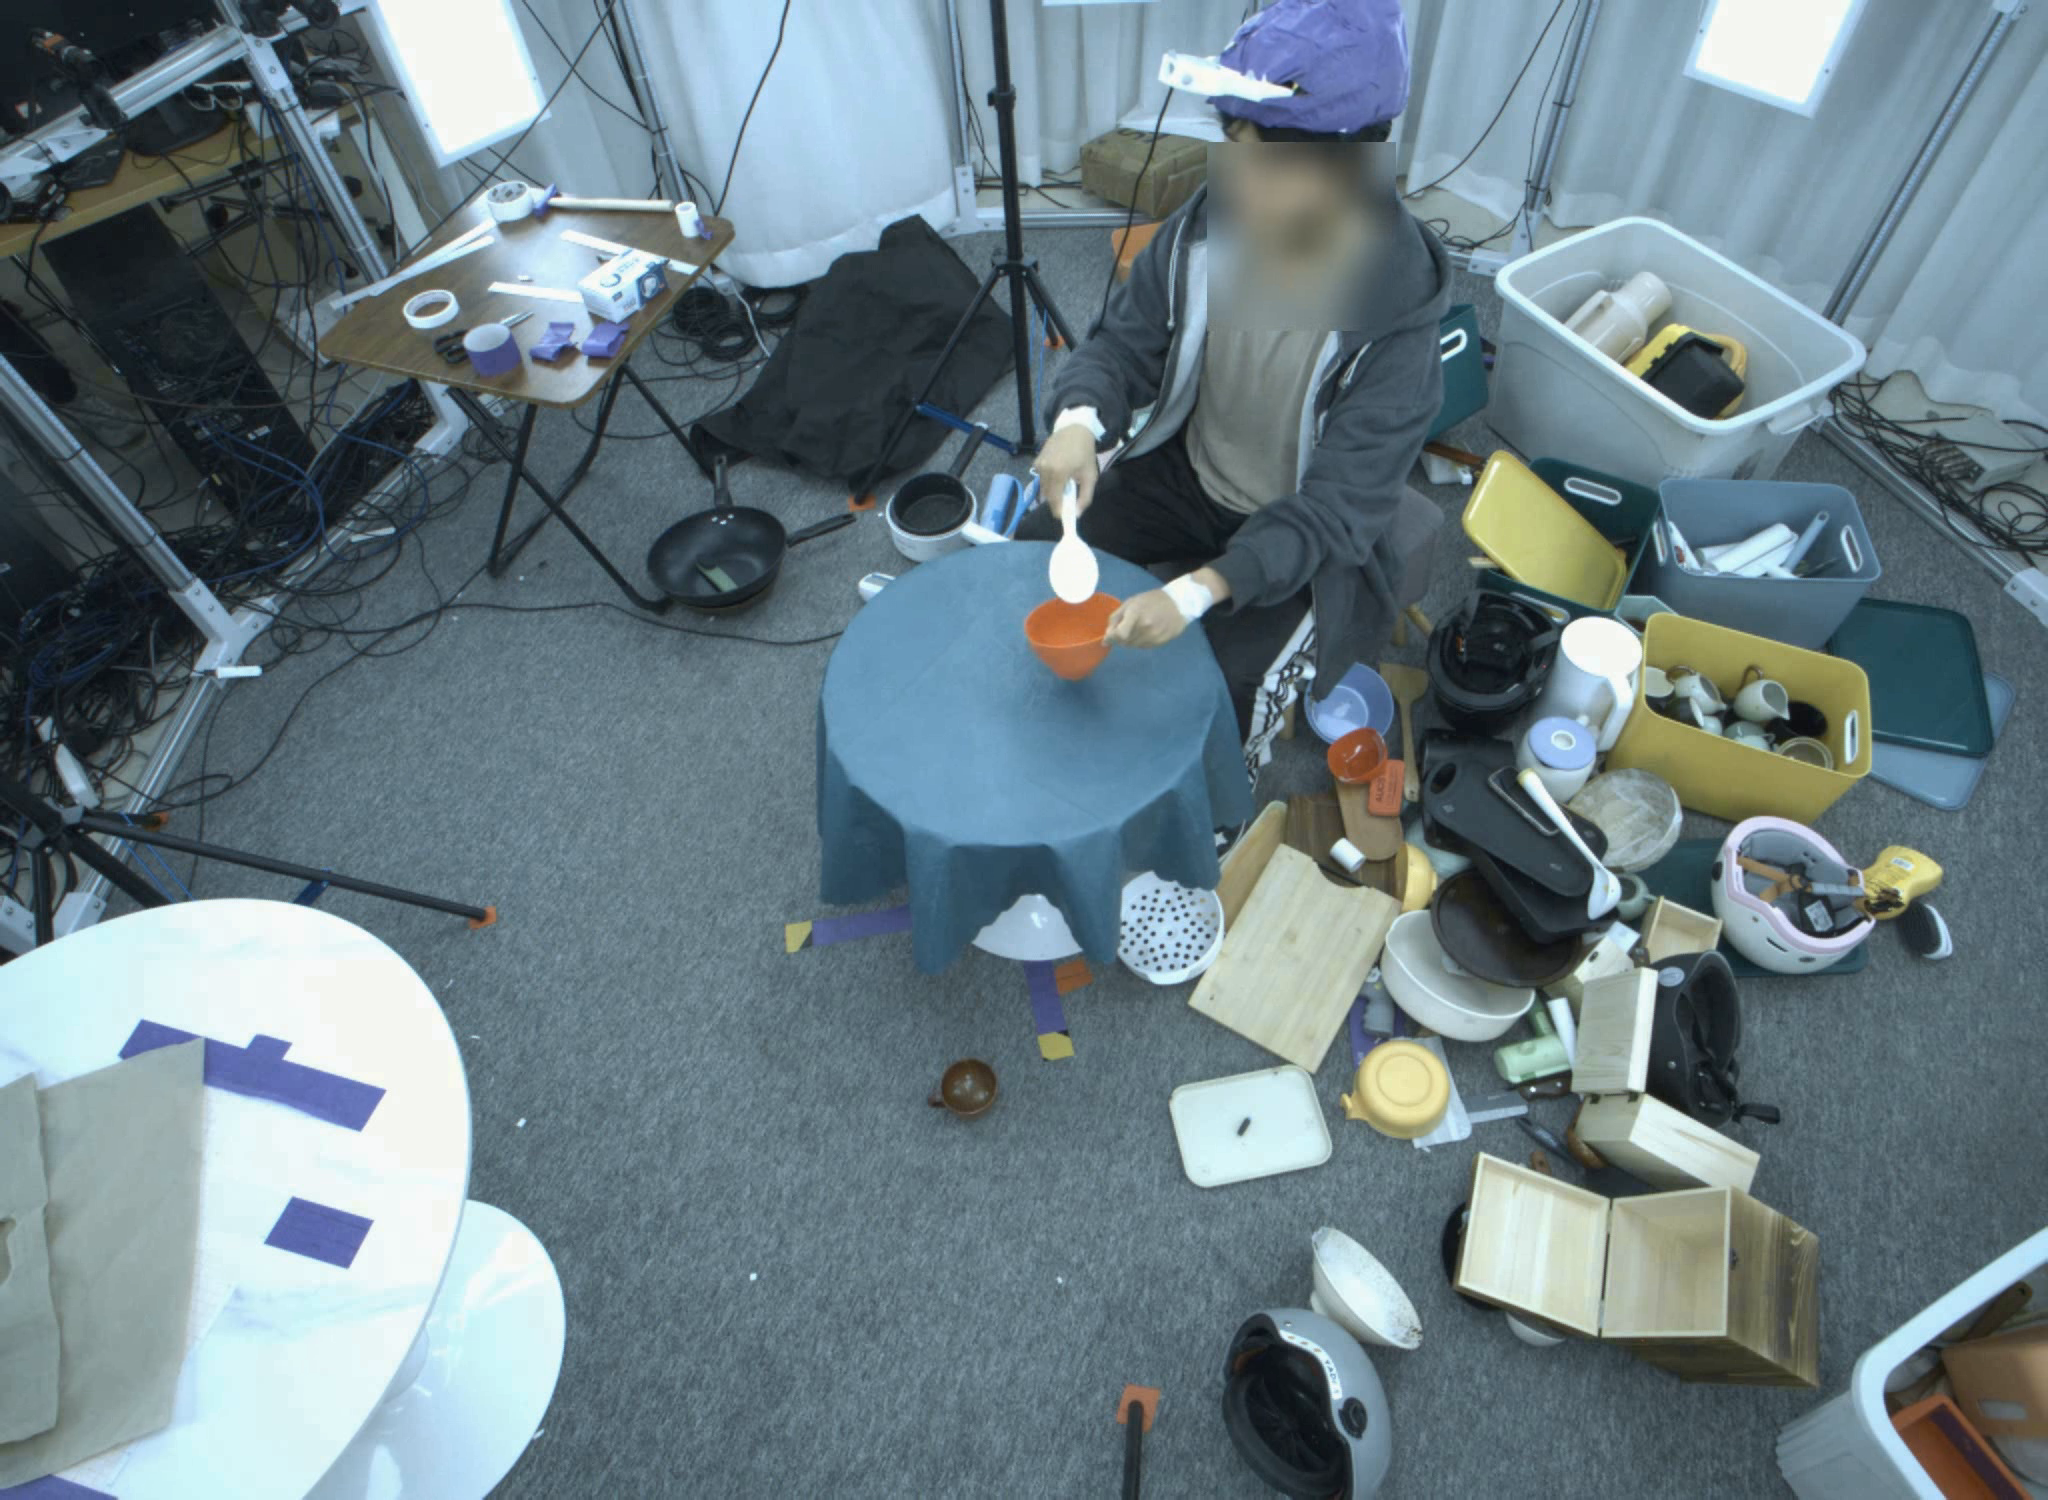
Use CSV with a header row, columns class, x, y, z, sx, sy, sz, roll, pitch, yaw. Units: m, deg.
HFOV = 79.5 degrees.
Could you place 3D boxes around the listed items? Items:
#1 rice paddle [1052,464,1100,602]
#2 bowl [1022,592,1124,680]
class,x,y,z,sx,sy,sz,roll,pitch,yaw
rice paddle,0.067,-0.309,1.748,0.069,0.029,0.204,-6,81,-1
bowl,0.074,-0.156,1.777,0.147,0.106,0.146,-3,44,5
